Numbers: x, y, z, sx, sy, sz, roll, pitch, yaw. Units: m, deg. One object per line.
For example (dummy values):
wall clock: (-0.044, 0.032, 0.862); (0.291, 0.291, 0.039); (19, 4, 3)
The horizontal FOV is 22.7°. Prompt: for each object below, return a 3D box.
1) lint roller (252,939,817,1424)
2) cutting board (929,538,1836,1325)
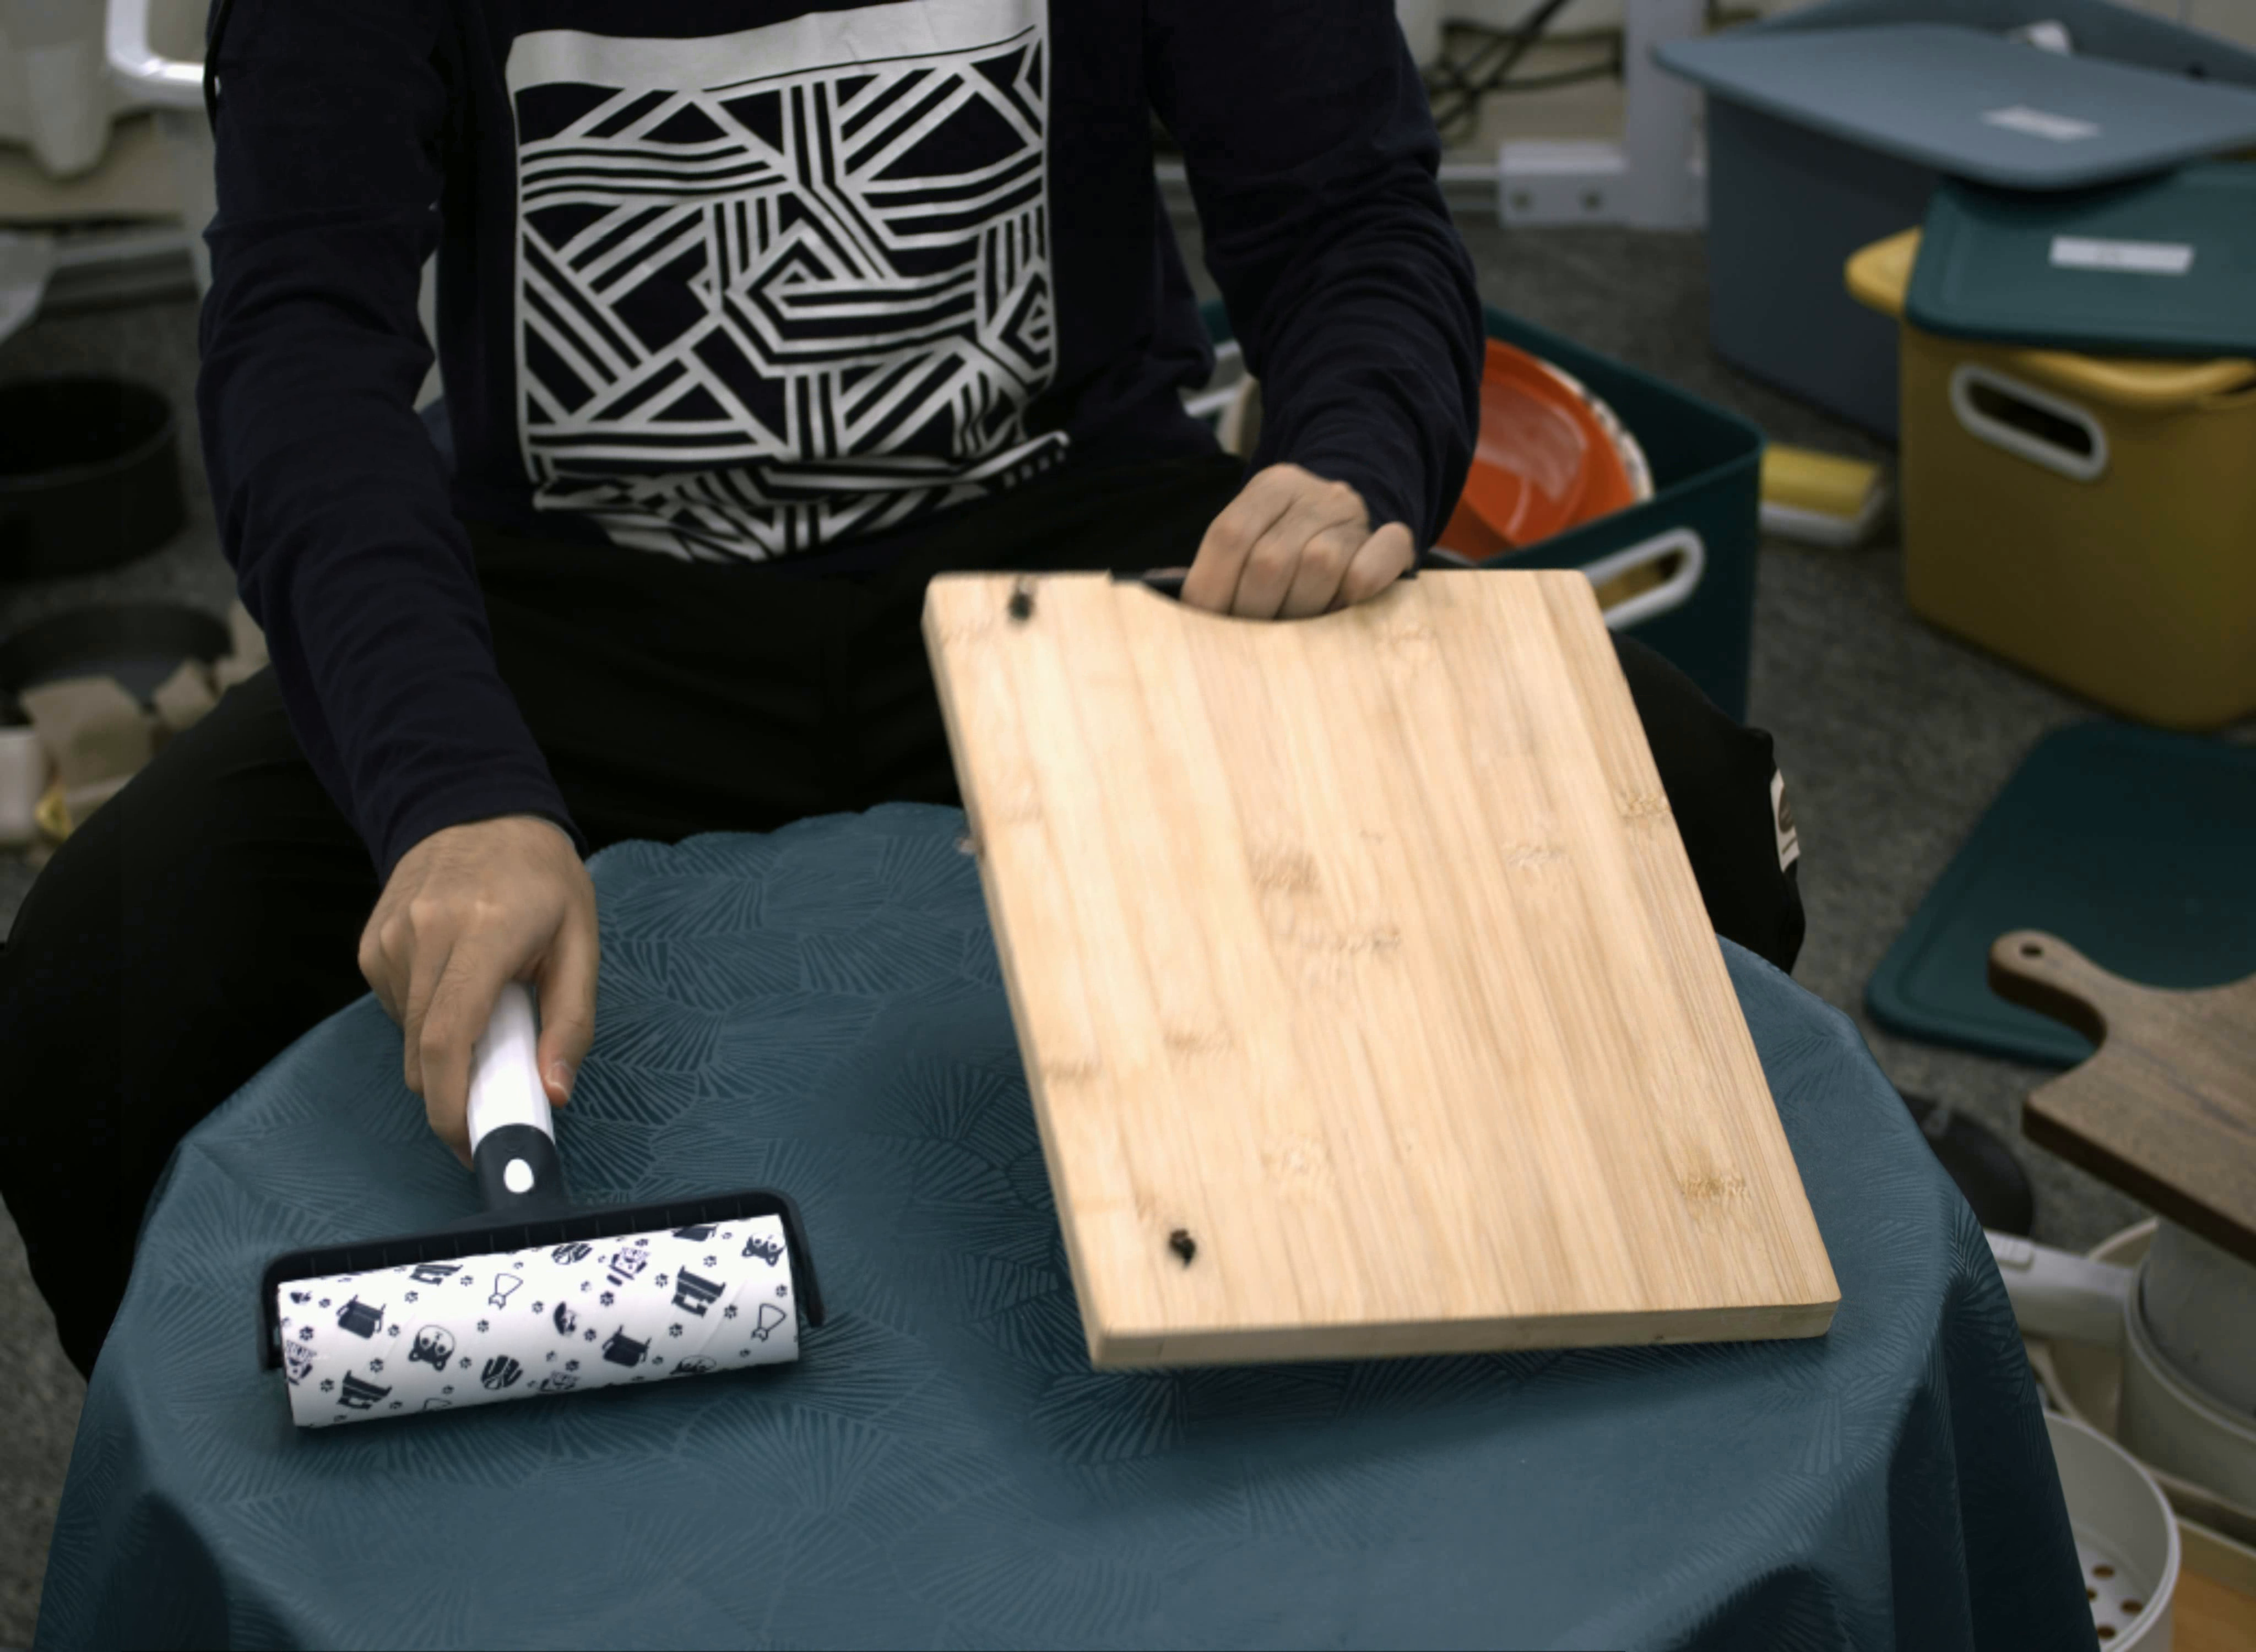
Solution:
lint roller: (-0.205, 0.102, 1.847); (0.176, 0.050, 0.250); (-9, 32, -7)
cutting board: (0.076, 0.030, 1.855); (0.250, 0.023, 0.355); (1, 44, -16)
